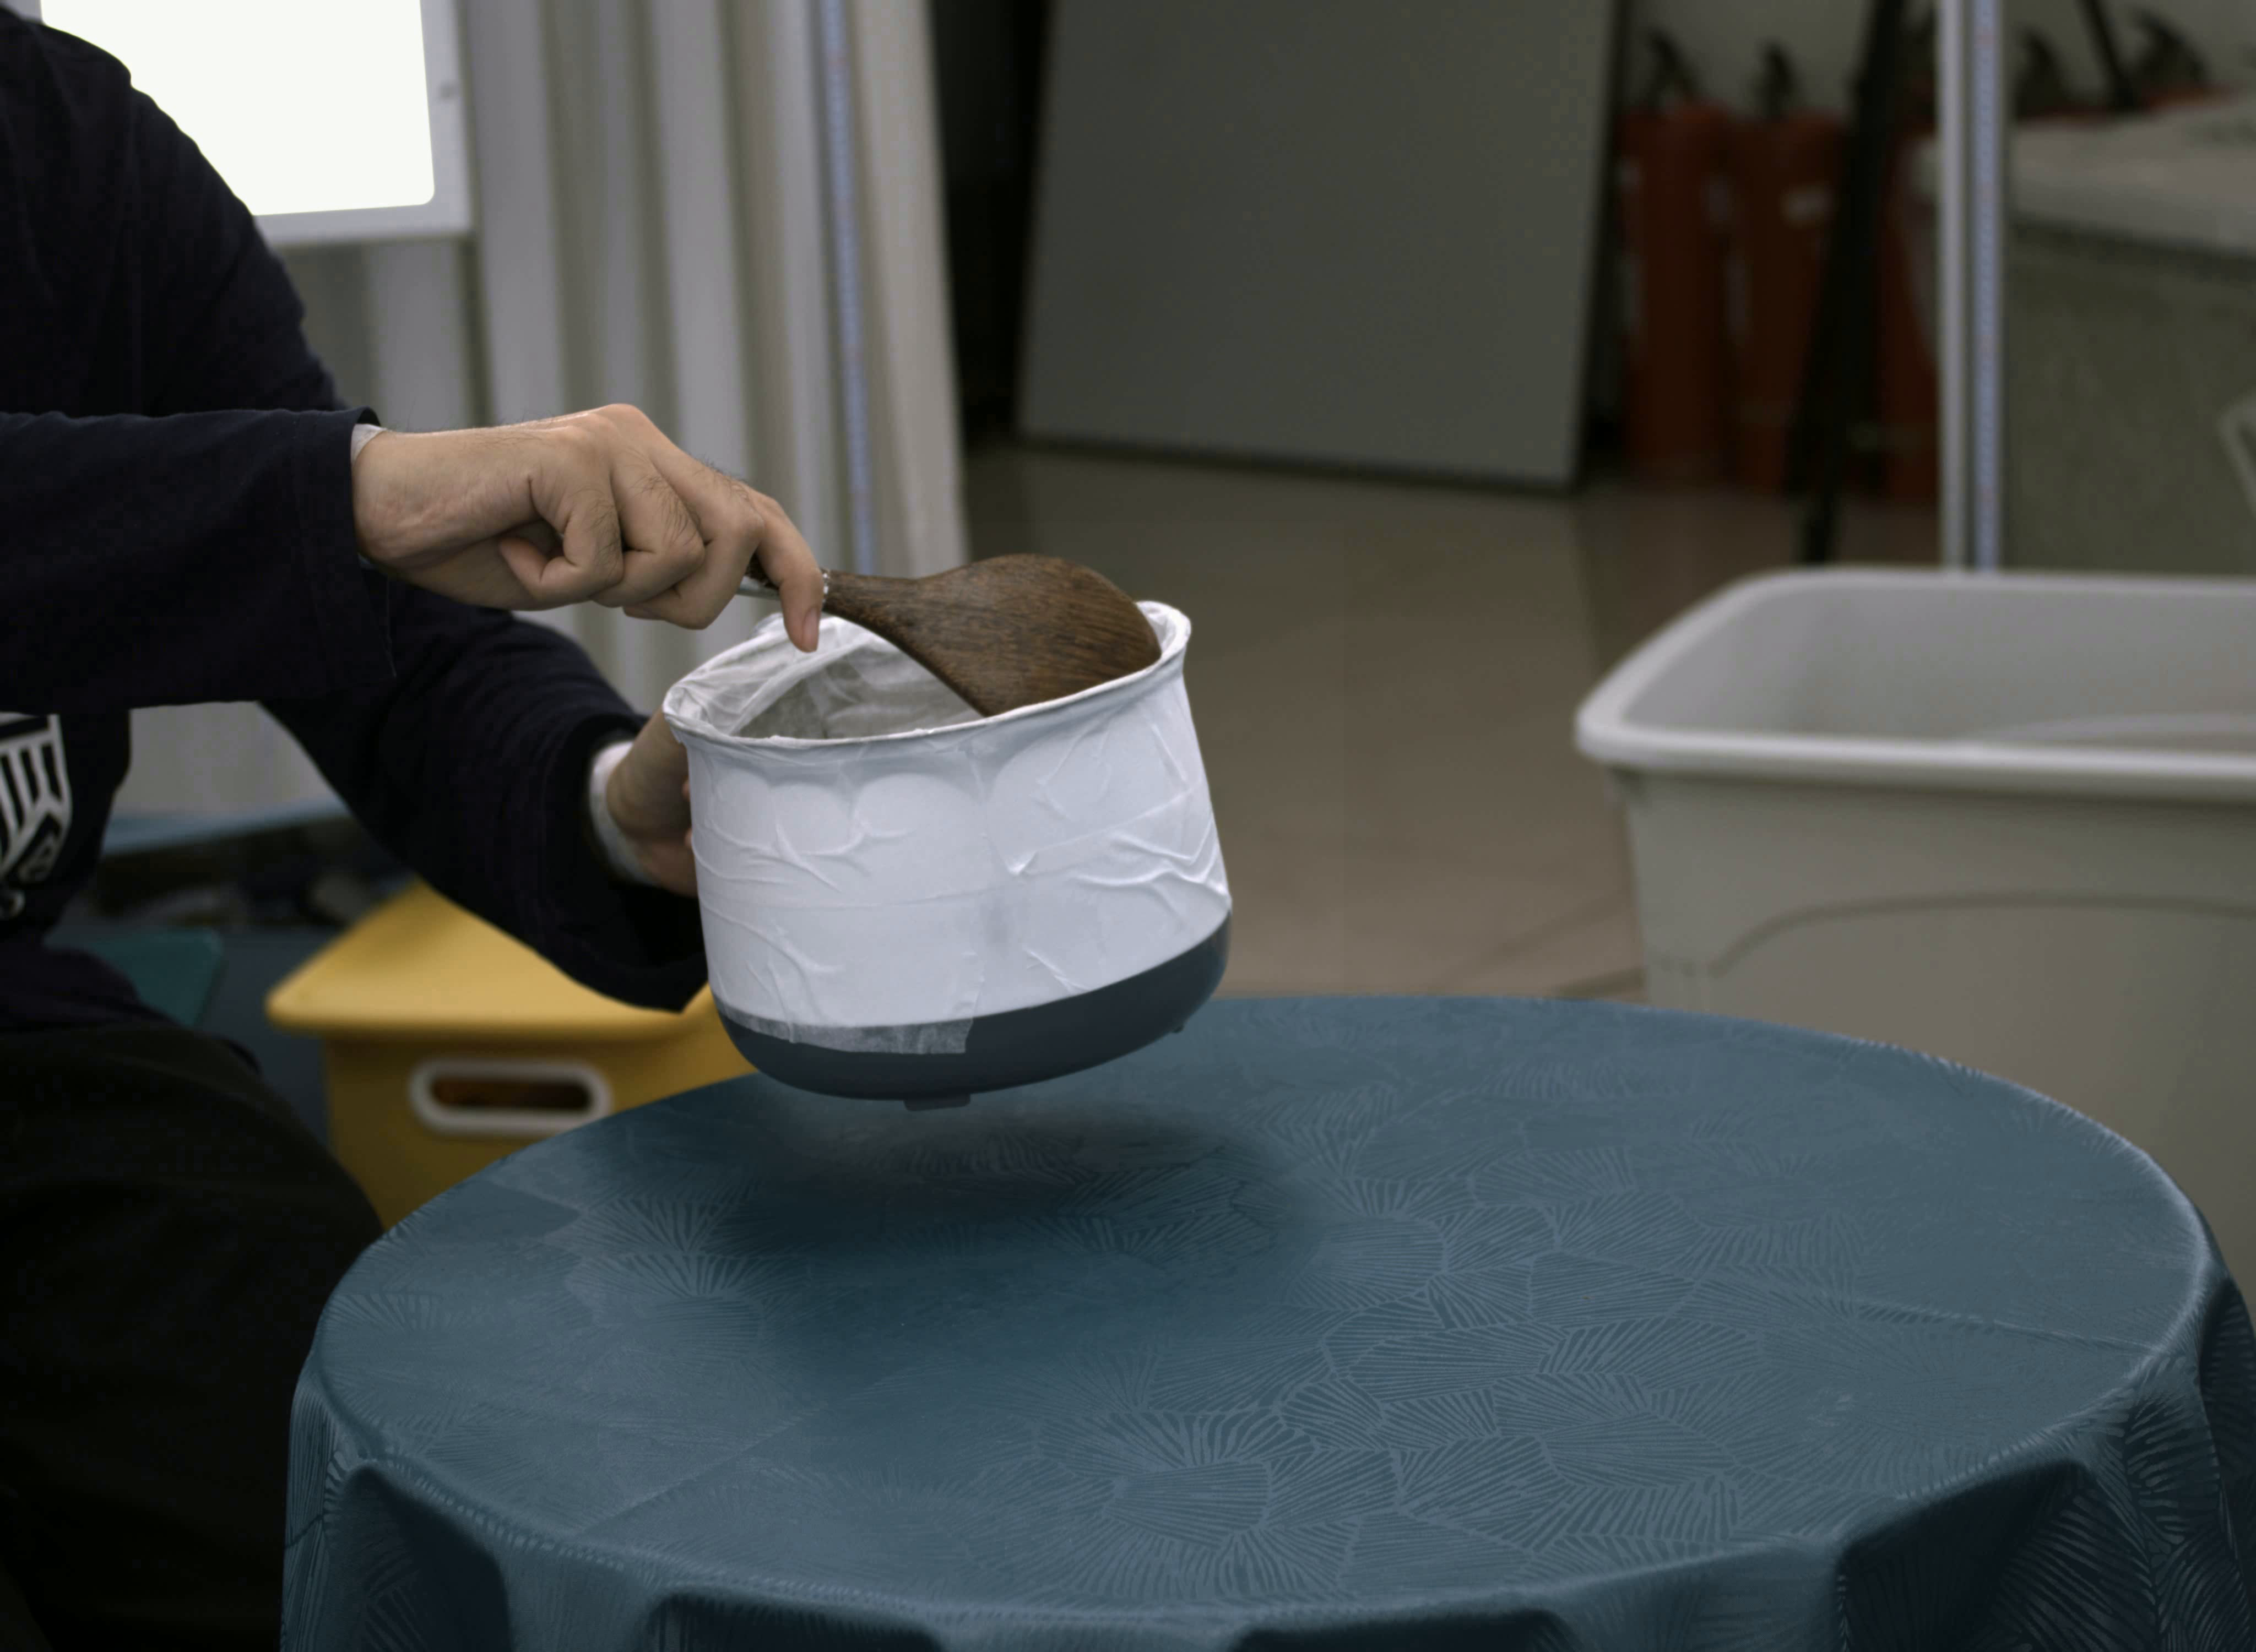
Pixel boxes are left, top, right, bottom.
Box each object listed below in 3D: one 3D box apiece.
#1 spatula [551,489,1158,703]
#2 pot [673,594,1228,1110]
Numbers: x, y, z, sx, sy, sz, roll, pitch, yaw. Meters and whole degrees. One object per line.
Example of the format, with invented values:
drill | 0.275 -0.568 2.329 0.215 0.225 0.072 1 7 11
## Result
spatula | -0.084 -0.074 1.732 0.211 0.072 0.009 15 -35 -18
pot | -0.072 0.002 1.812 0.175 0.138 0.236 -15 17 -32
